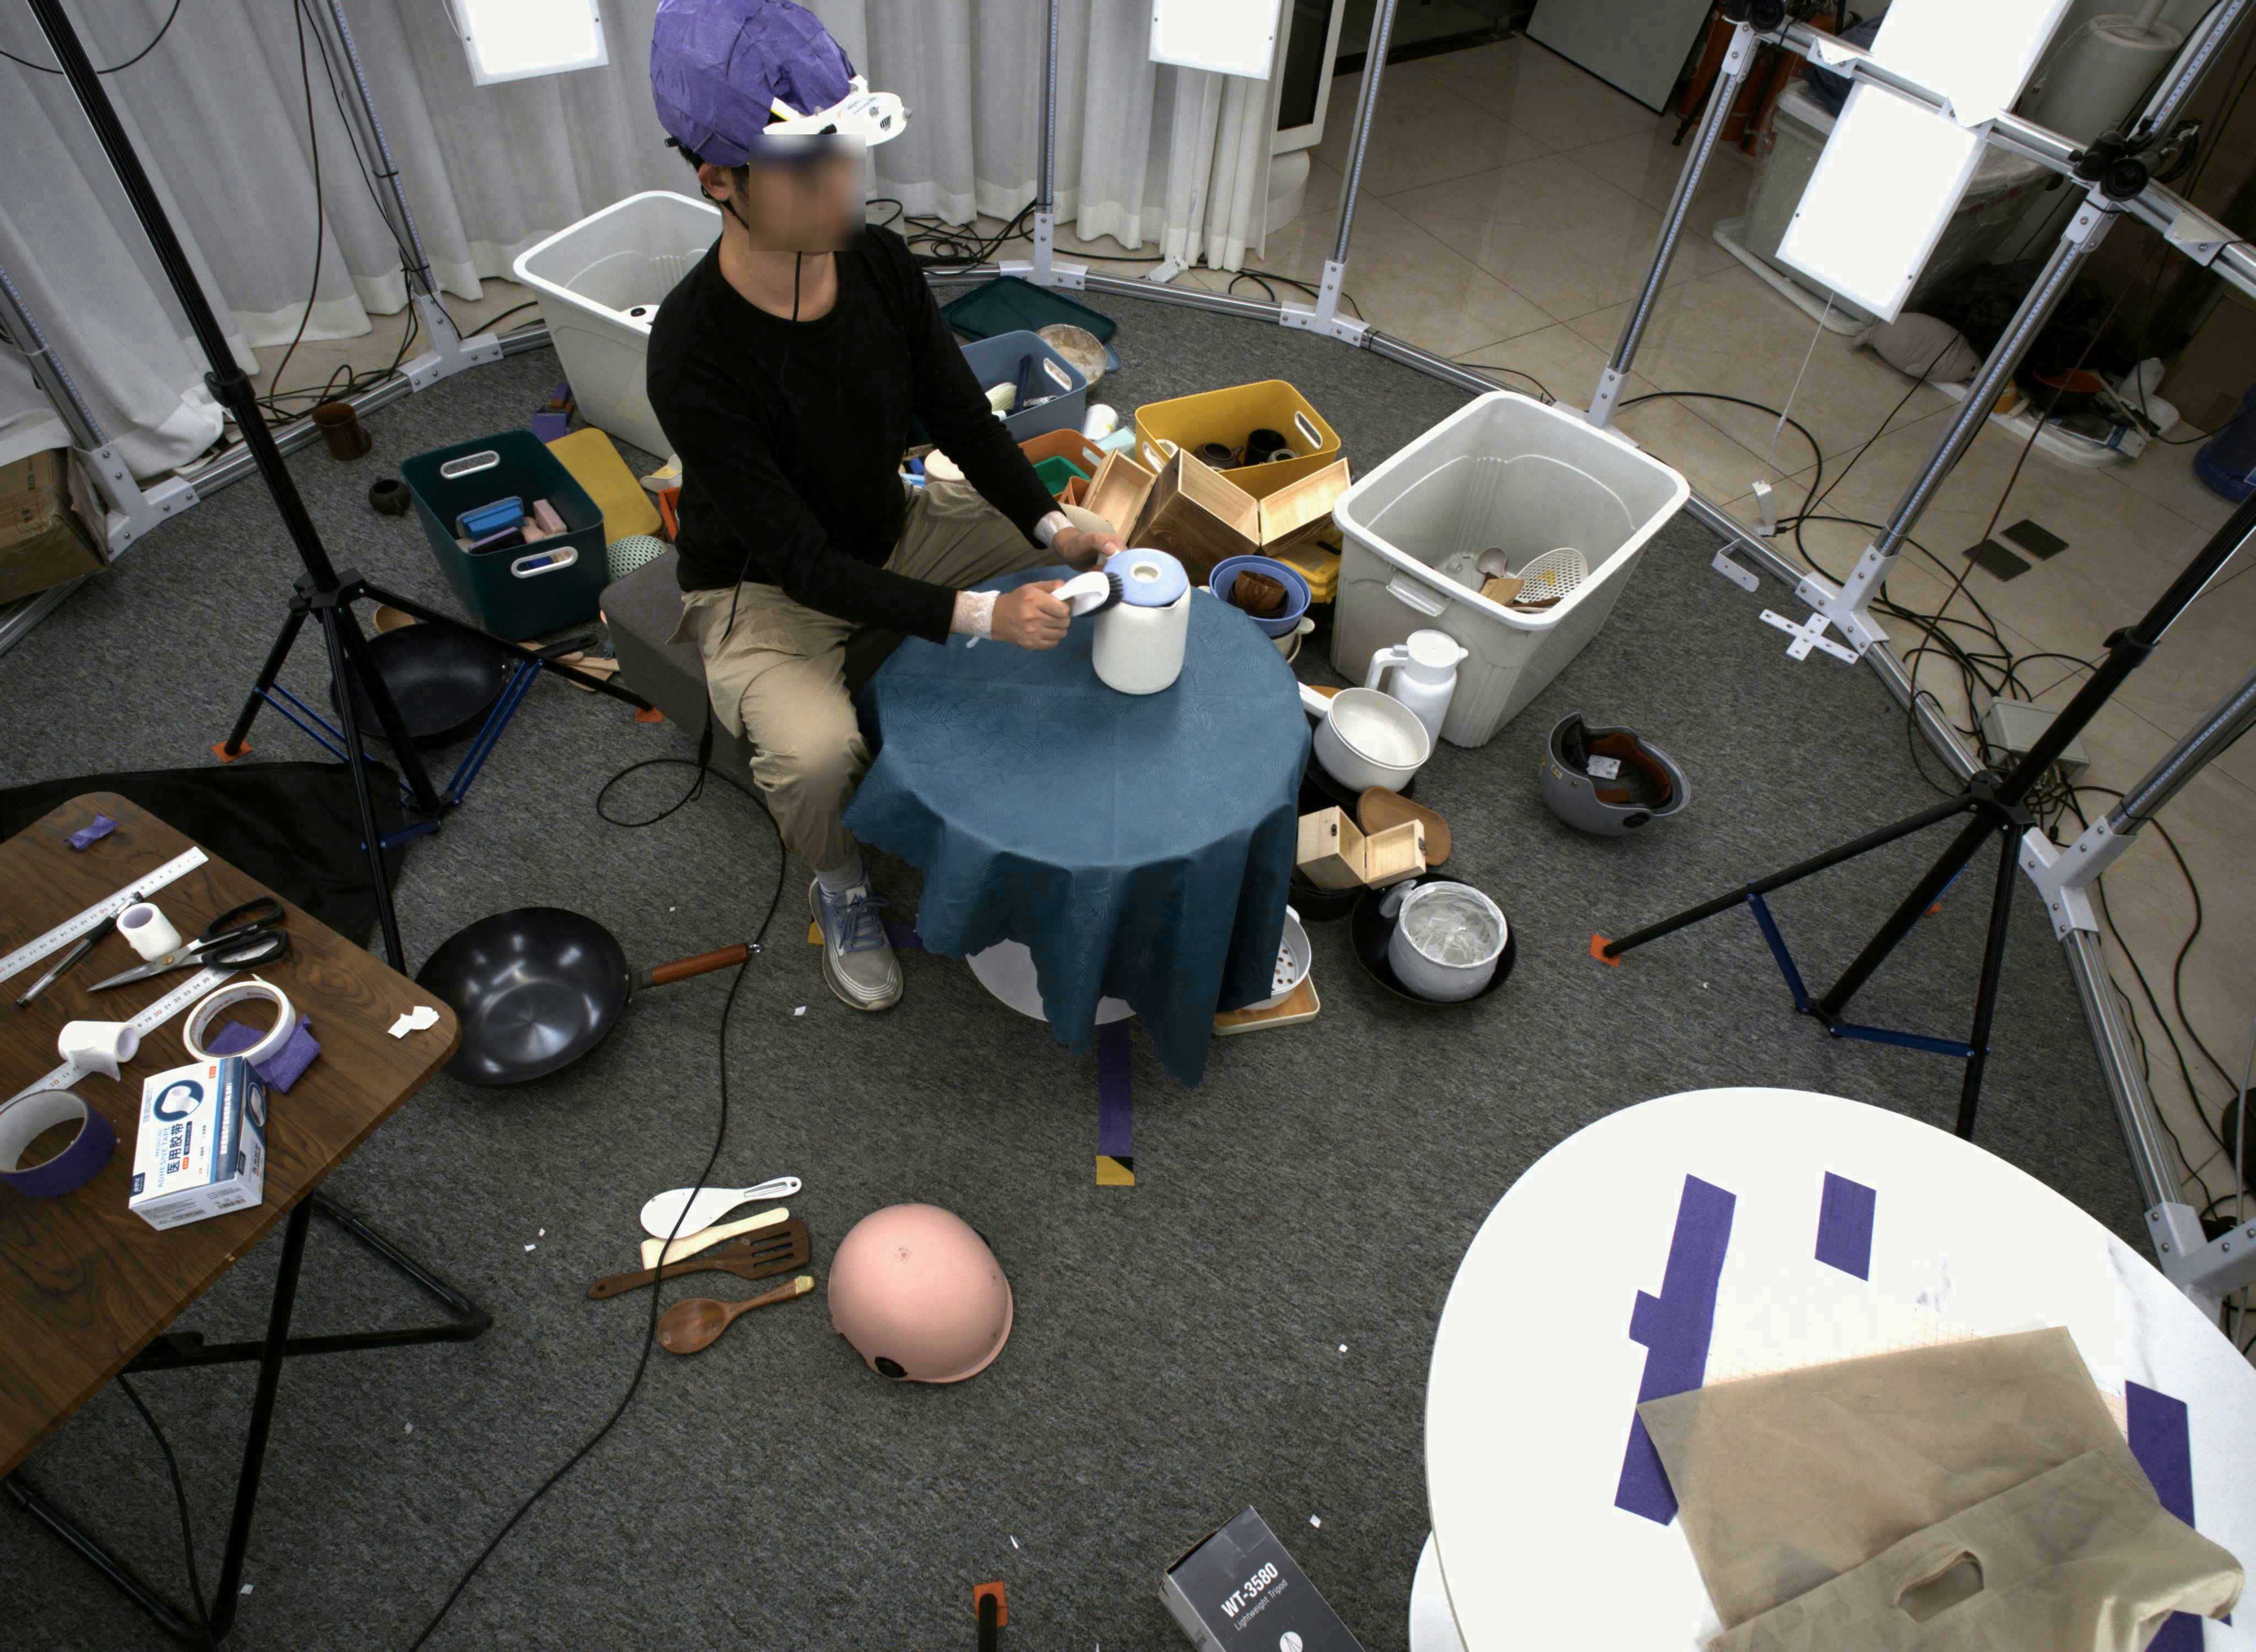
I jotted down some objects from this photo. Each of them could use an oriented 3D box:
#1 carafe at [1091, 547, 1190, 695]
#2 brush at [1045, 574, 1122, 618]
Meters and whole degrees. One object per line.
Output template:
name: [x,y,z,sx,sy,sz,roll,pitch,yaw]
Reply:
carafe: [0.004,-0.304,1.824,0.133,0.178,0.195,-23,53,-23]
brush: [-0.067,-0.308,1.719,0.099,0.050,0.072,-9,-1,44]
